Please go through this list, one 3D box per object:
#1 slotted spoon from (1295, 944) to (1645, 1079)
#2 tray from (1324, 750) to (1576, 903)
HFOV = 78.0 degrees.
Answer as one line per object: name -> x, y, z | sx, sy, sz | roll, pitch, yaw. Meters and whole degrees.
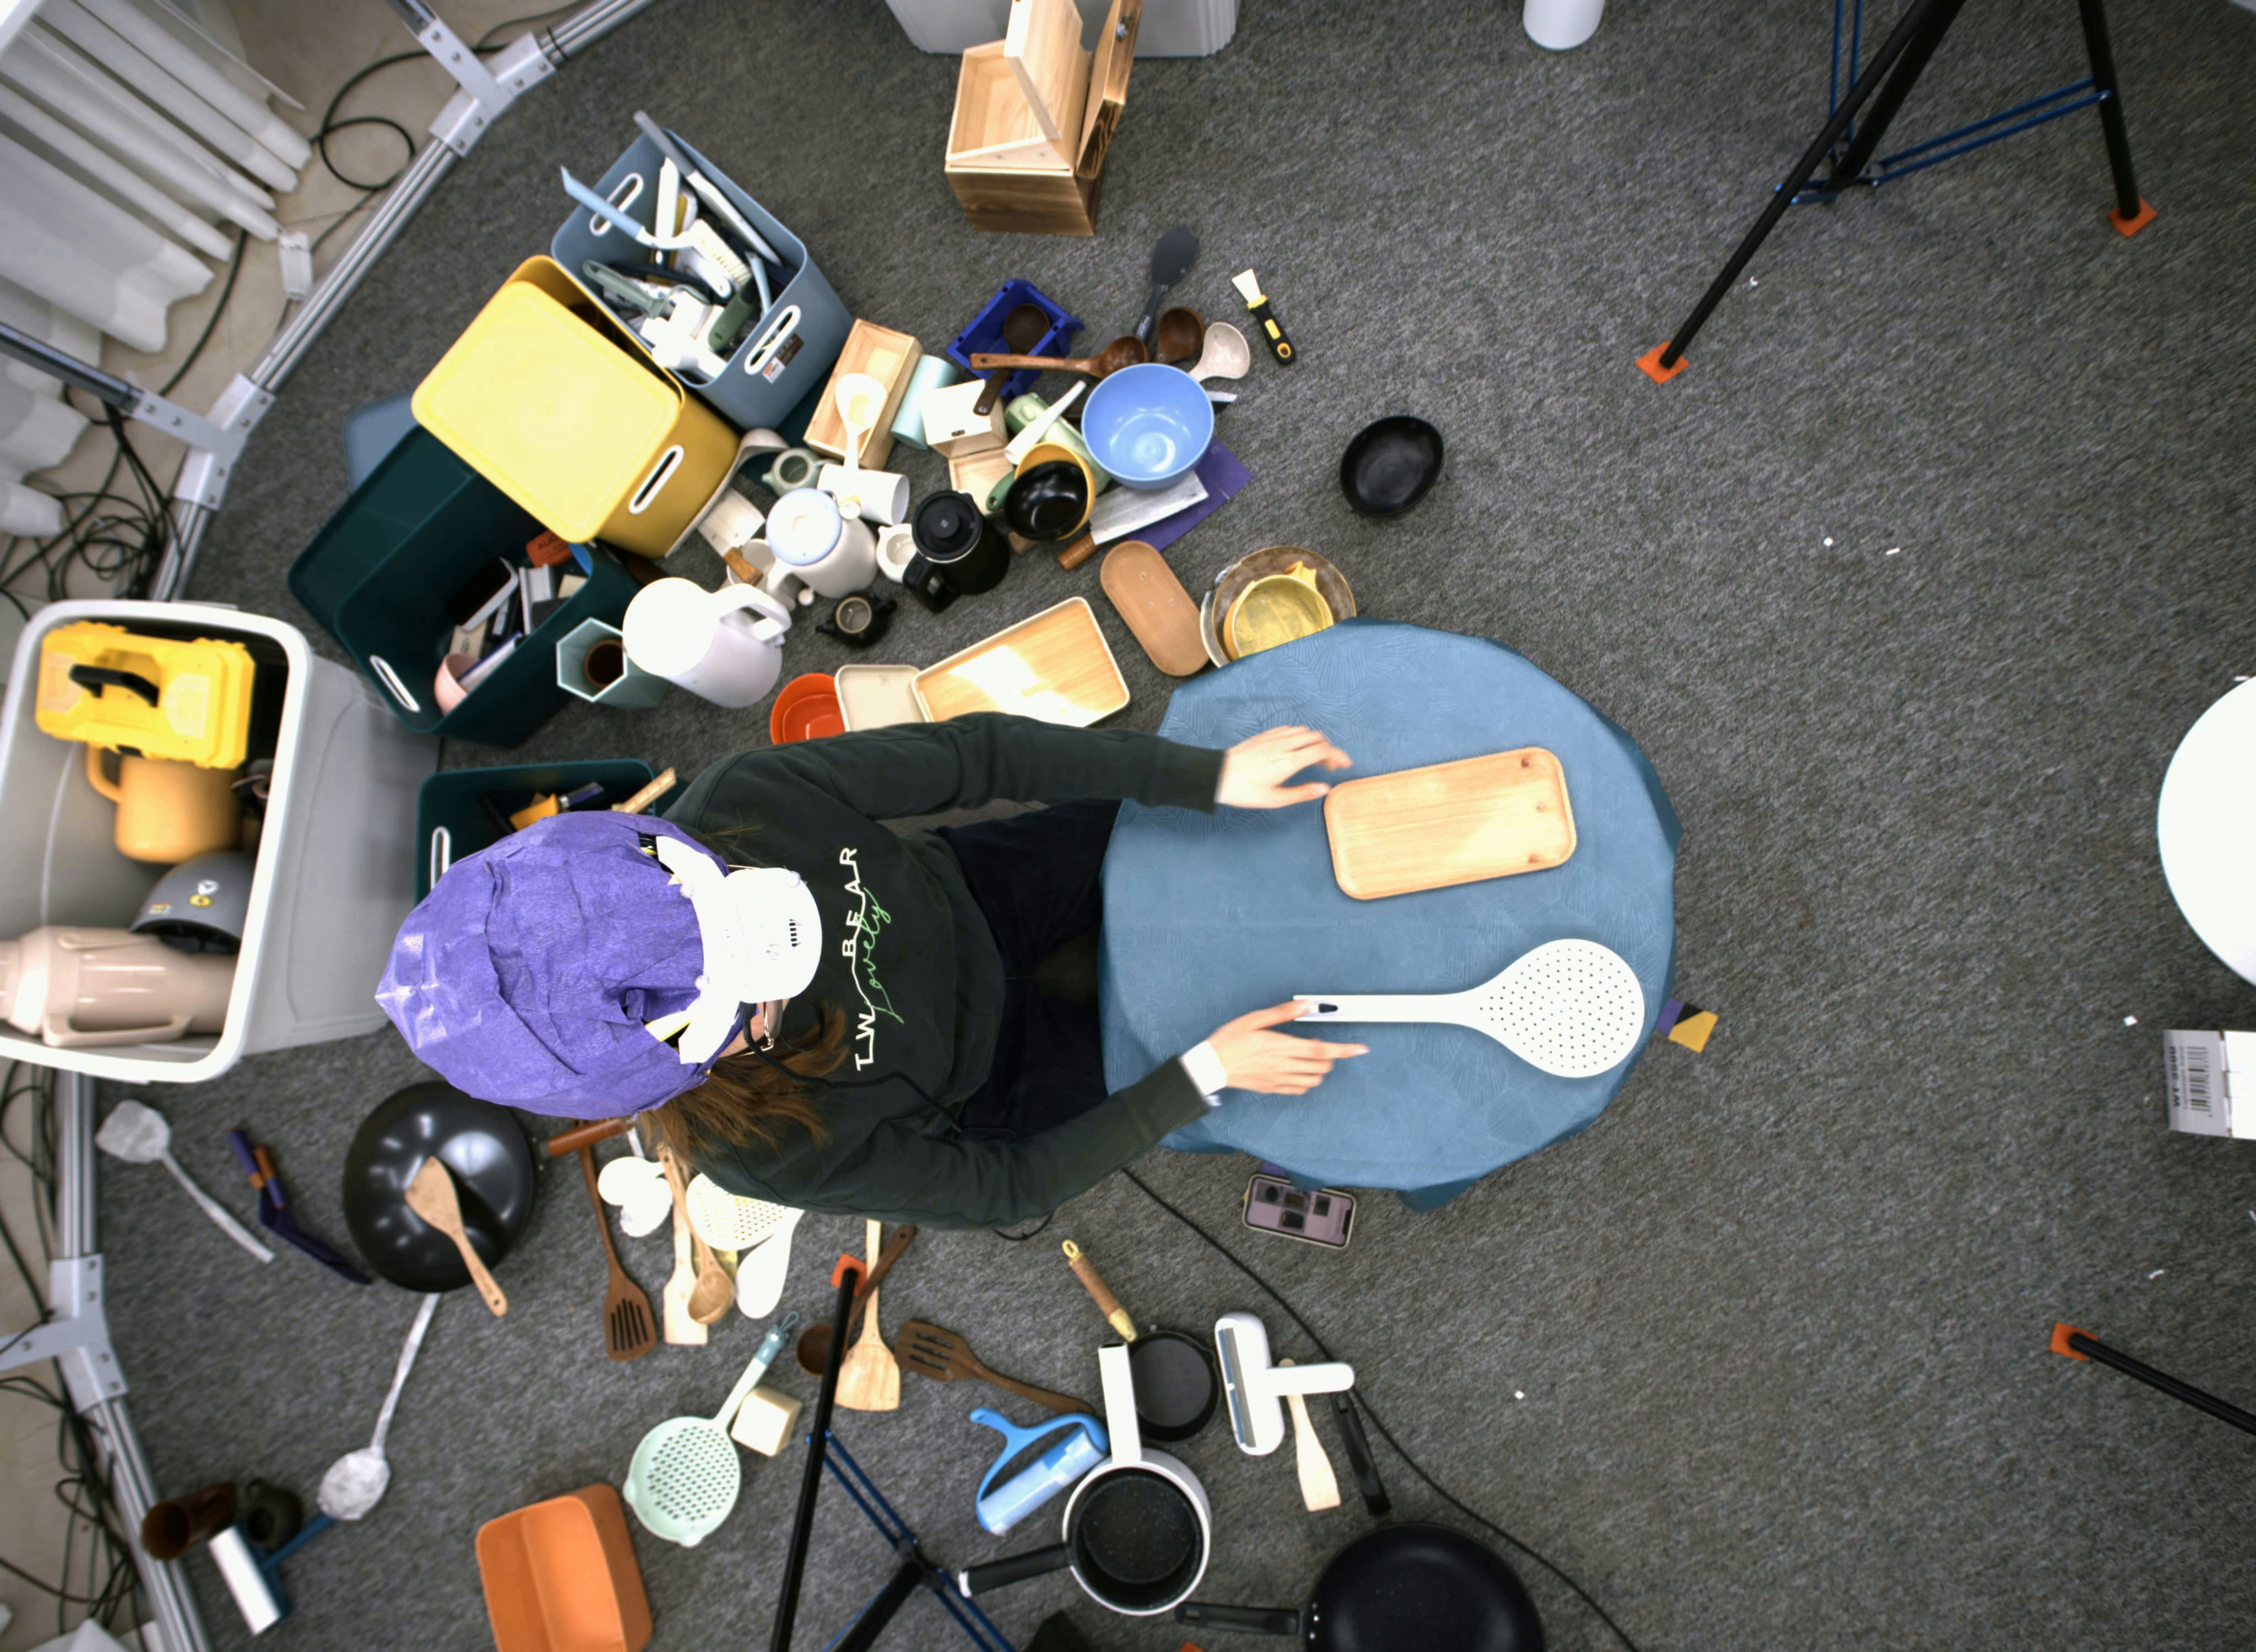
slotted spoon -> 0.346, 0.188, 1.420 | 0.351, 0.046, 0.135 | -1, 82, 11
tray -> 0.338, 0.000, 1.449 | 0.252, 0.023, 0.129 | -10, 82, 10
